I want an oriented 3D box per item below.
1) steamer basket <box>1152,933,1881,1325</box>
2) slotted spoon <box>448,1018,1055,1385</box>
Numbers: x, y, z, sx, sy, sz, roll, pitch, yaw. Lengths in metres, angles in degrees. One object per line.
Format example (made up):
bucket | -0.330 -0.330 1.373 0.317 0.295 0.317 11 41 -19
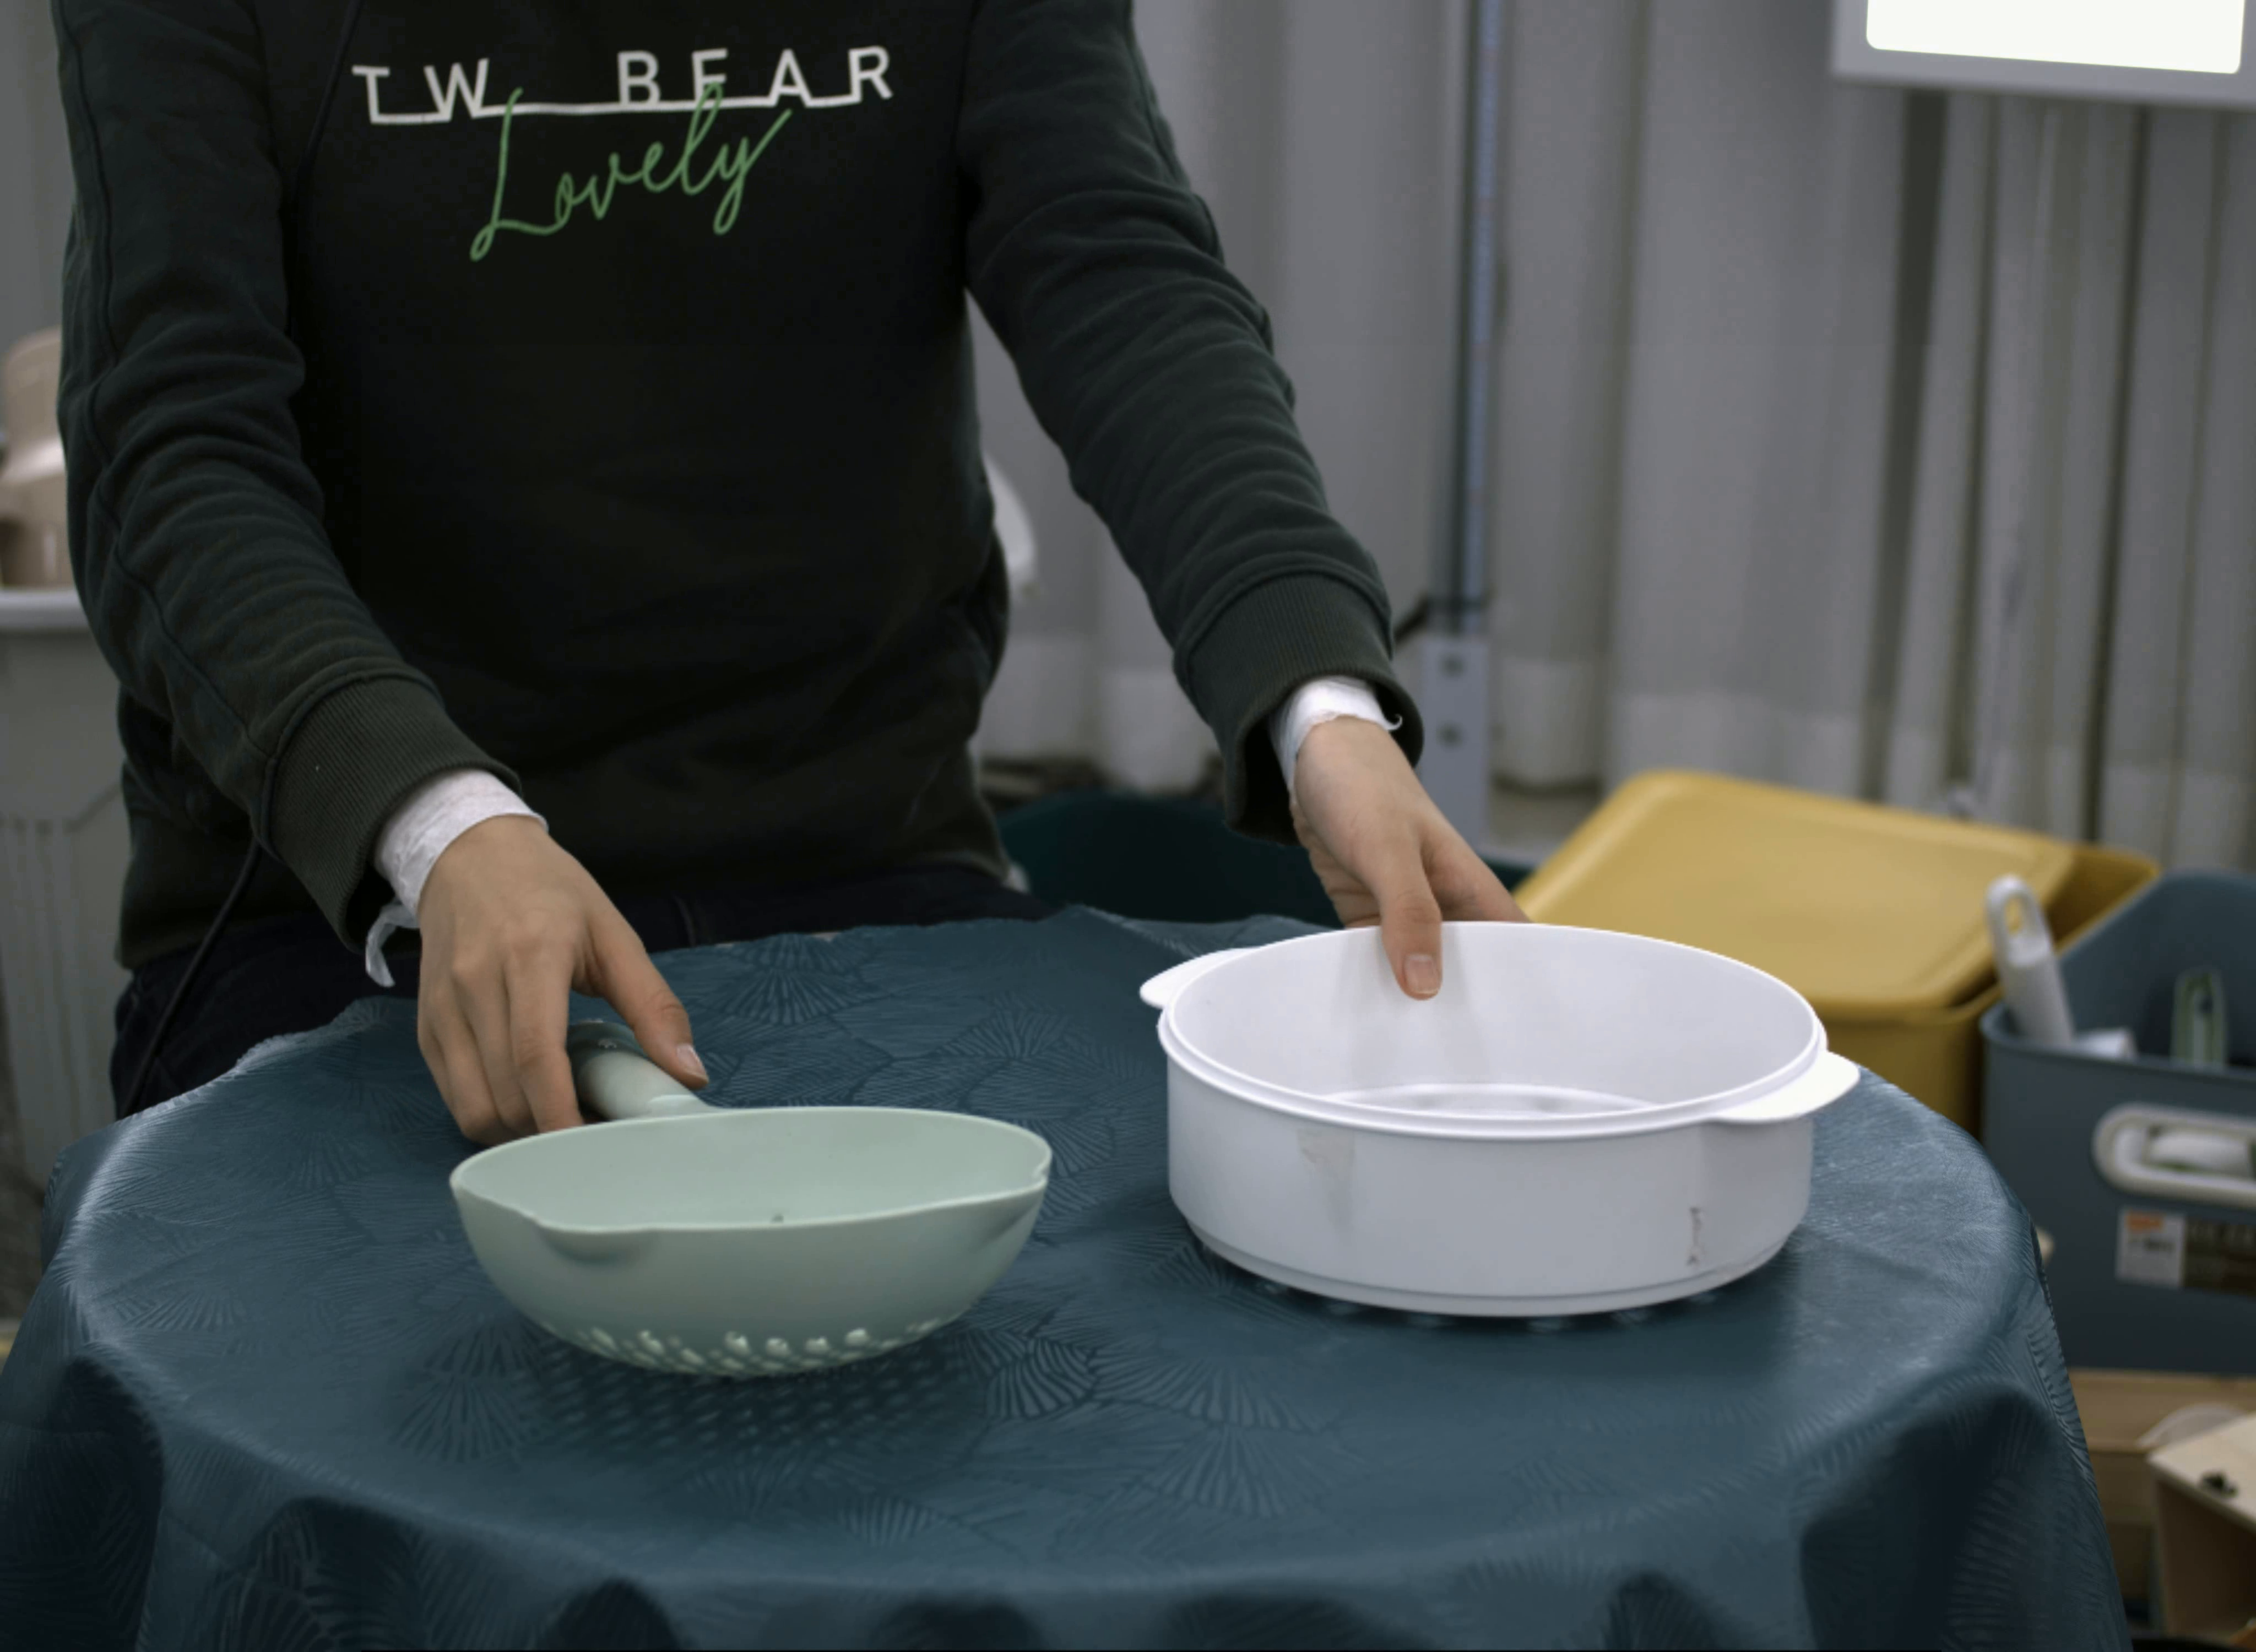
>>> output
steamer basket | 0.114 0.091 1.589 0.228 0.070 0.202 10 18 31
slotted spoon | -0.131 0.095 1.564 0.169 0.076 0.355 -3 17 -16
